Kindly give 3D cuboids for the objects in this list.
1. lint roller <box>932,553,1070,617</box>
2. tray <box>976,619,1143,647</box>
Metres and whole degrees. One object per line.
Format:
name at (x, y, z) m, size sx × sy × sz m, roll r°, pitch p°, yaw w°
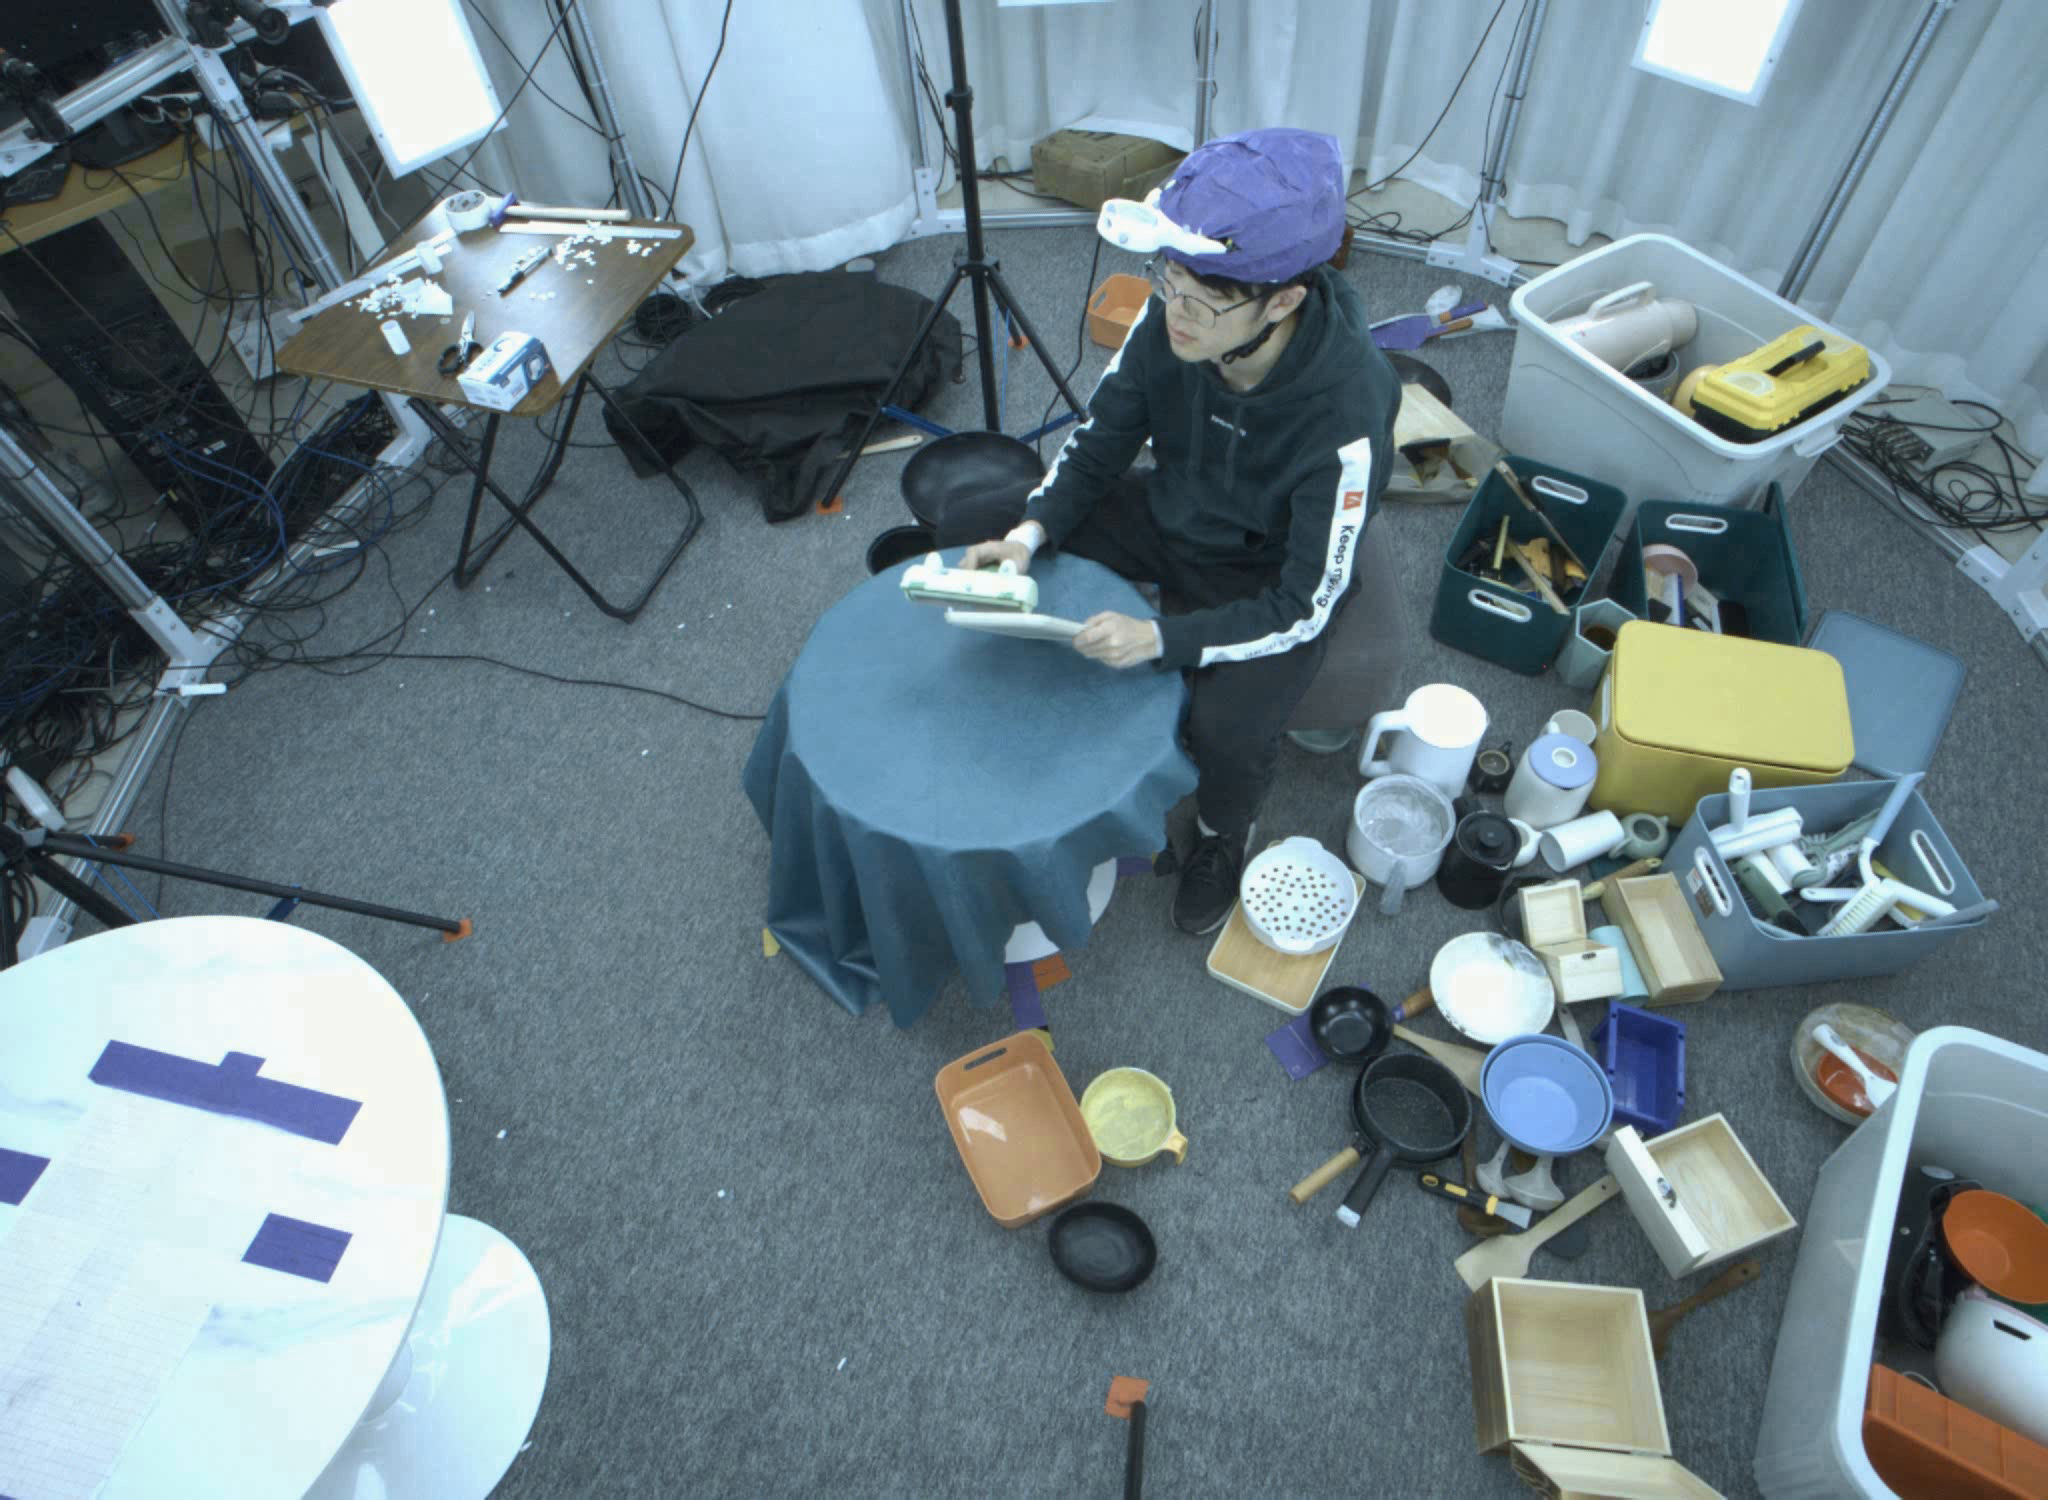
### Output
lint roller at (-0.014, -0.262, 1.814) m, size 0.196 × 0.083 × 0.184 m, roll 10°, pitch 33°, yaw 17°
tray at (0.053, -0.168, 1.772) m, size 0.168 × 0.244 × 0.017 m, roll 8°, pitch 94°, yaw 30°
